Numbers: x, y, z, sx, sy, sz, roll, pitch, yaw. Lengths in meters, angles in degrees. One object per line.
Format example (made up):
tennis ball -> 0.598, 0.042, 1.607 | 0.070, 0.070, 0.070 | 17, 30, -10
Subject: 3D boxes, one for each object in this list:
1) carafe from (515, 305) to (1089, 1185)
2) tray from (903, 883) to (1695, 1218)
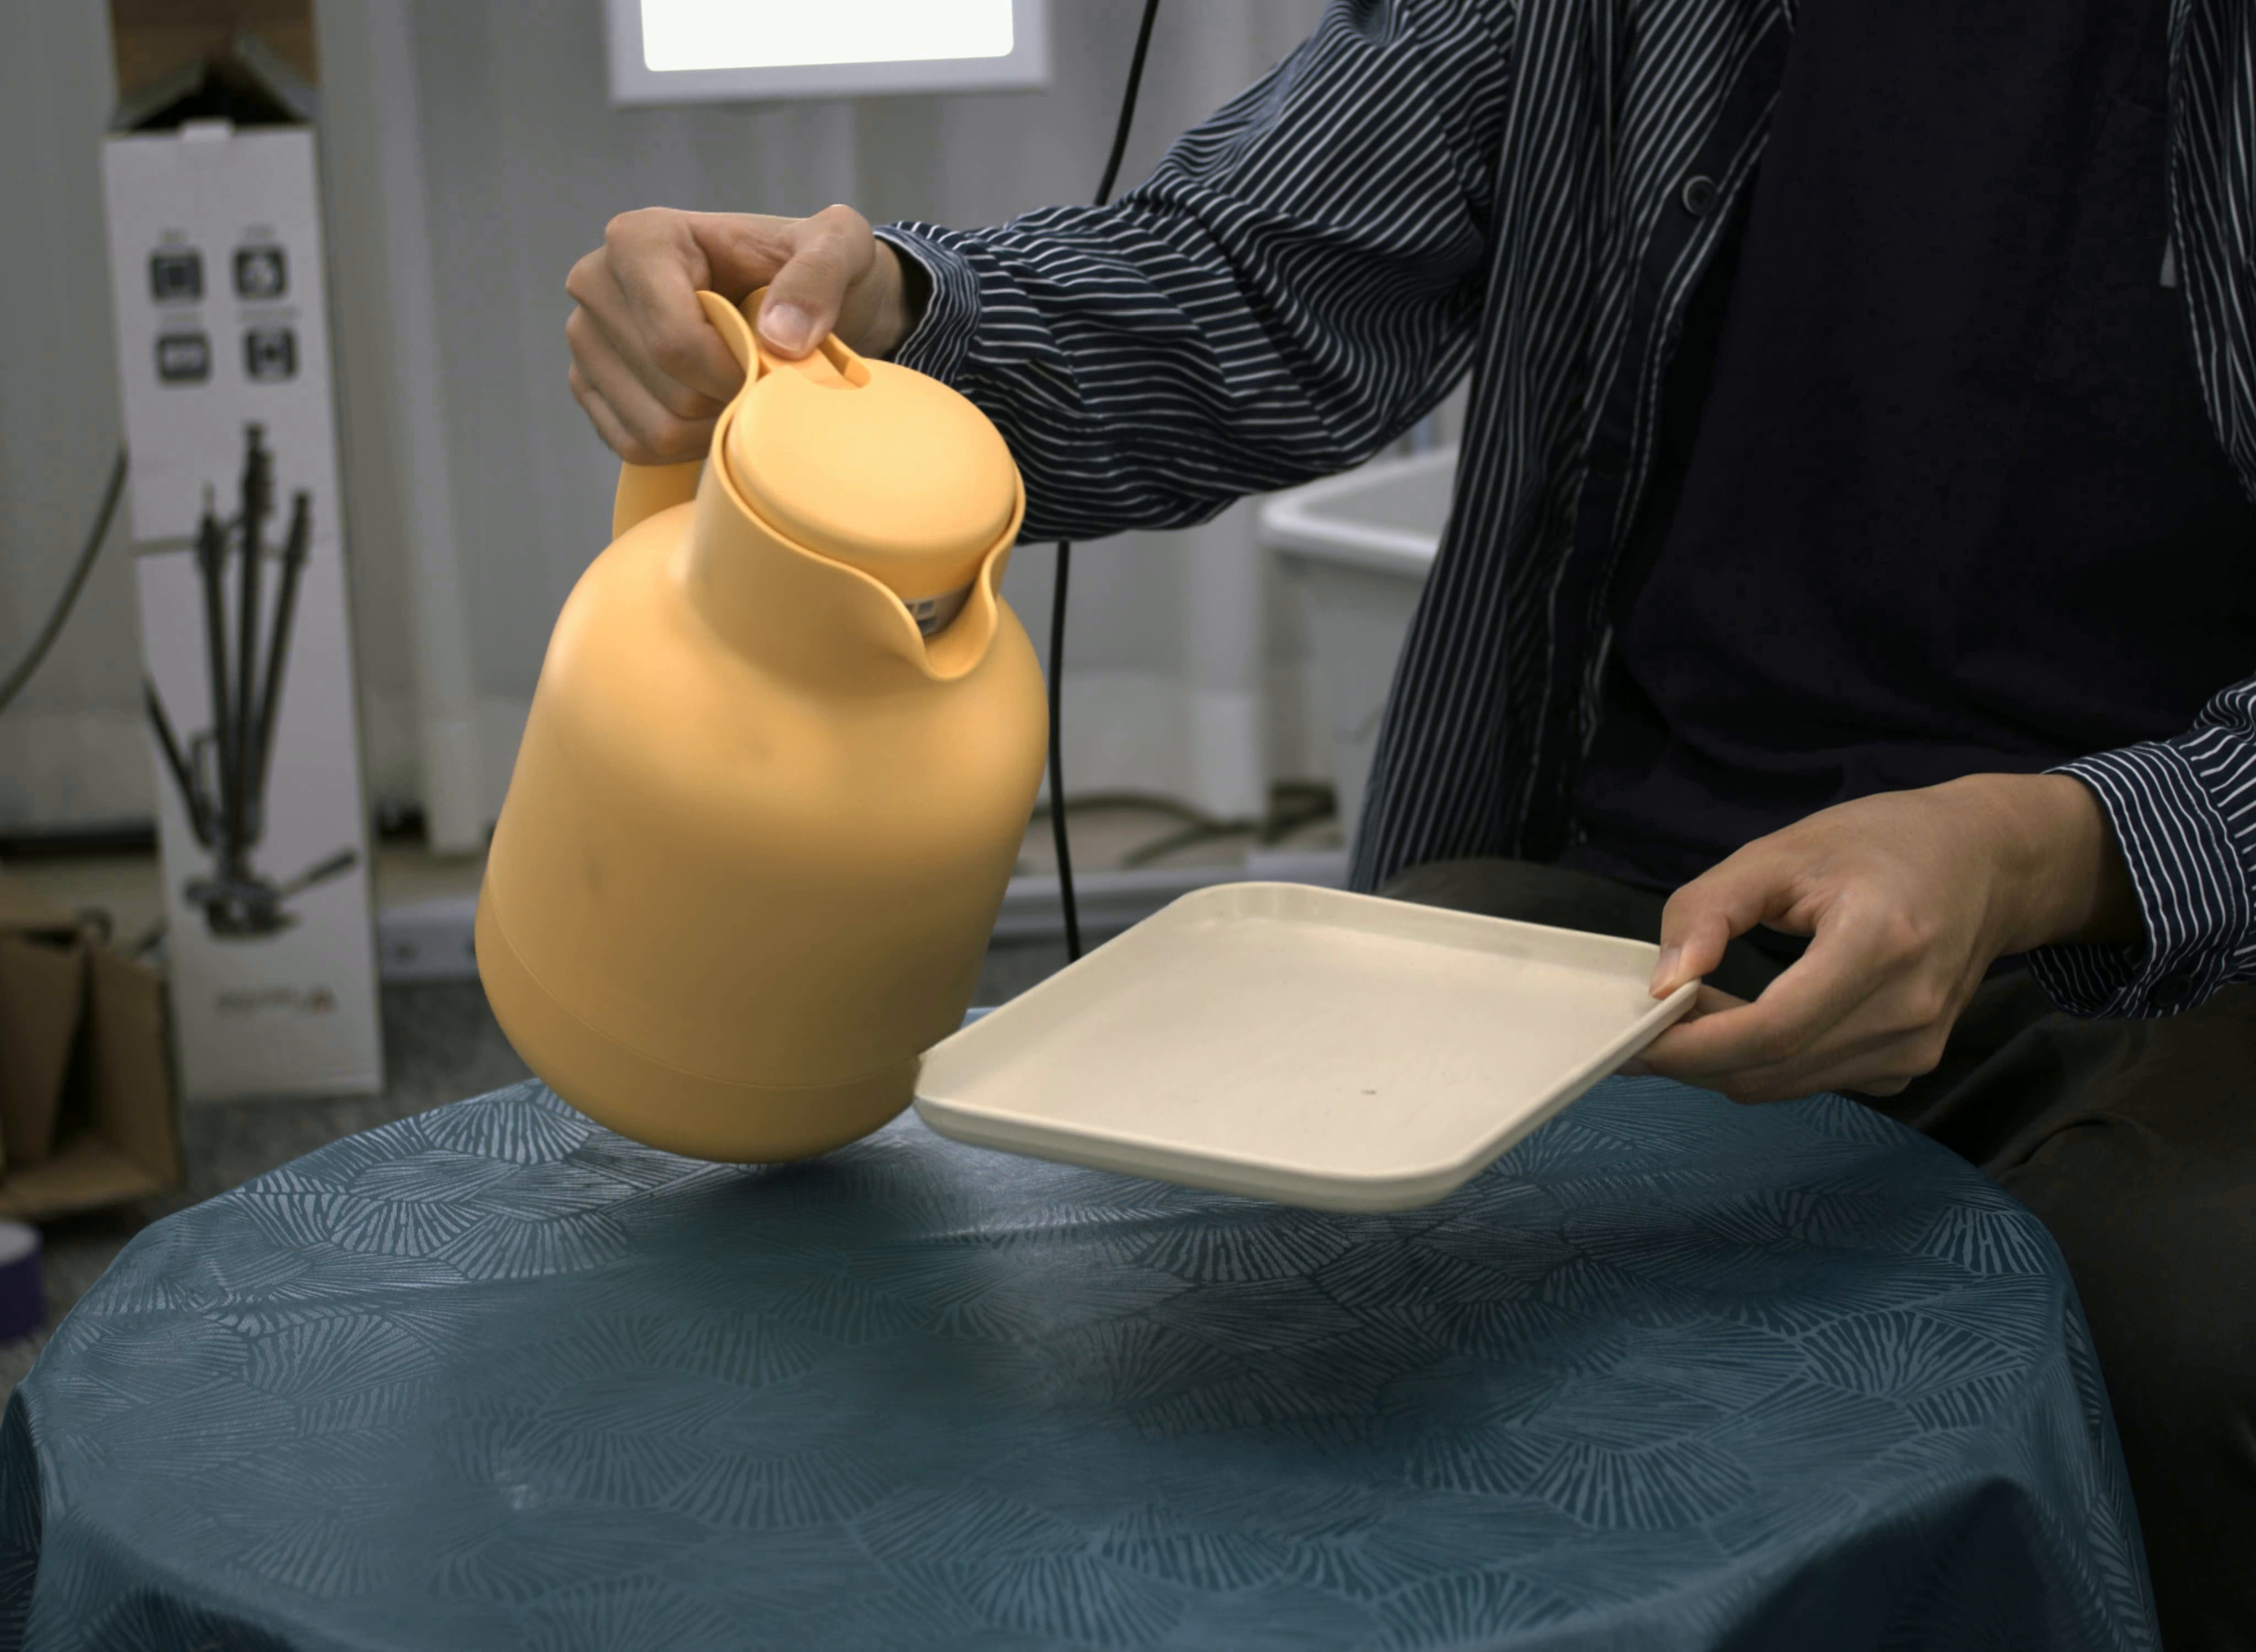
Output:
carafe -> -0.102, -0.033, 1.732 | 0.163, 0.258, 0.205 | -8, 48, -30
tray -> 0.053, 0.063, 1.583 | 0.171, 0.017, 0.240 | 9, 18, 24
